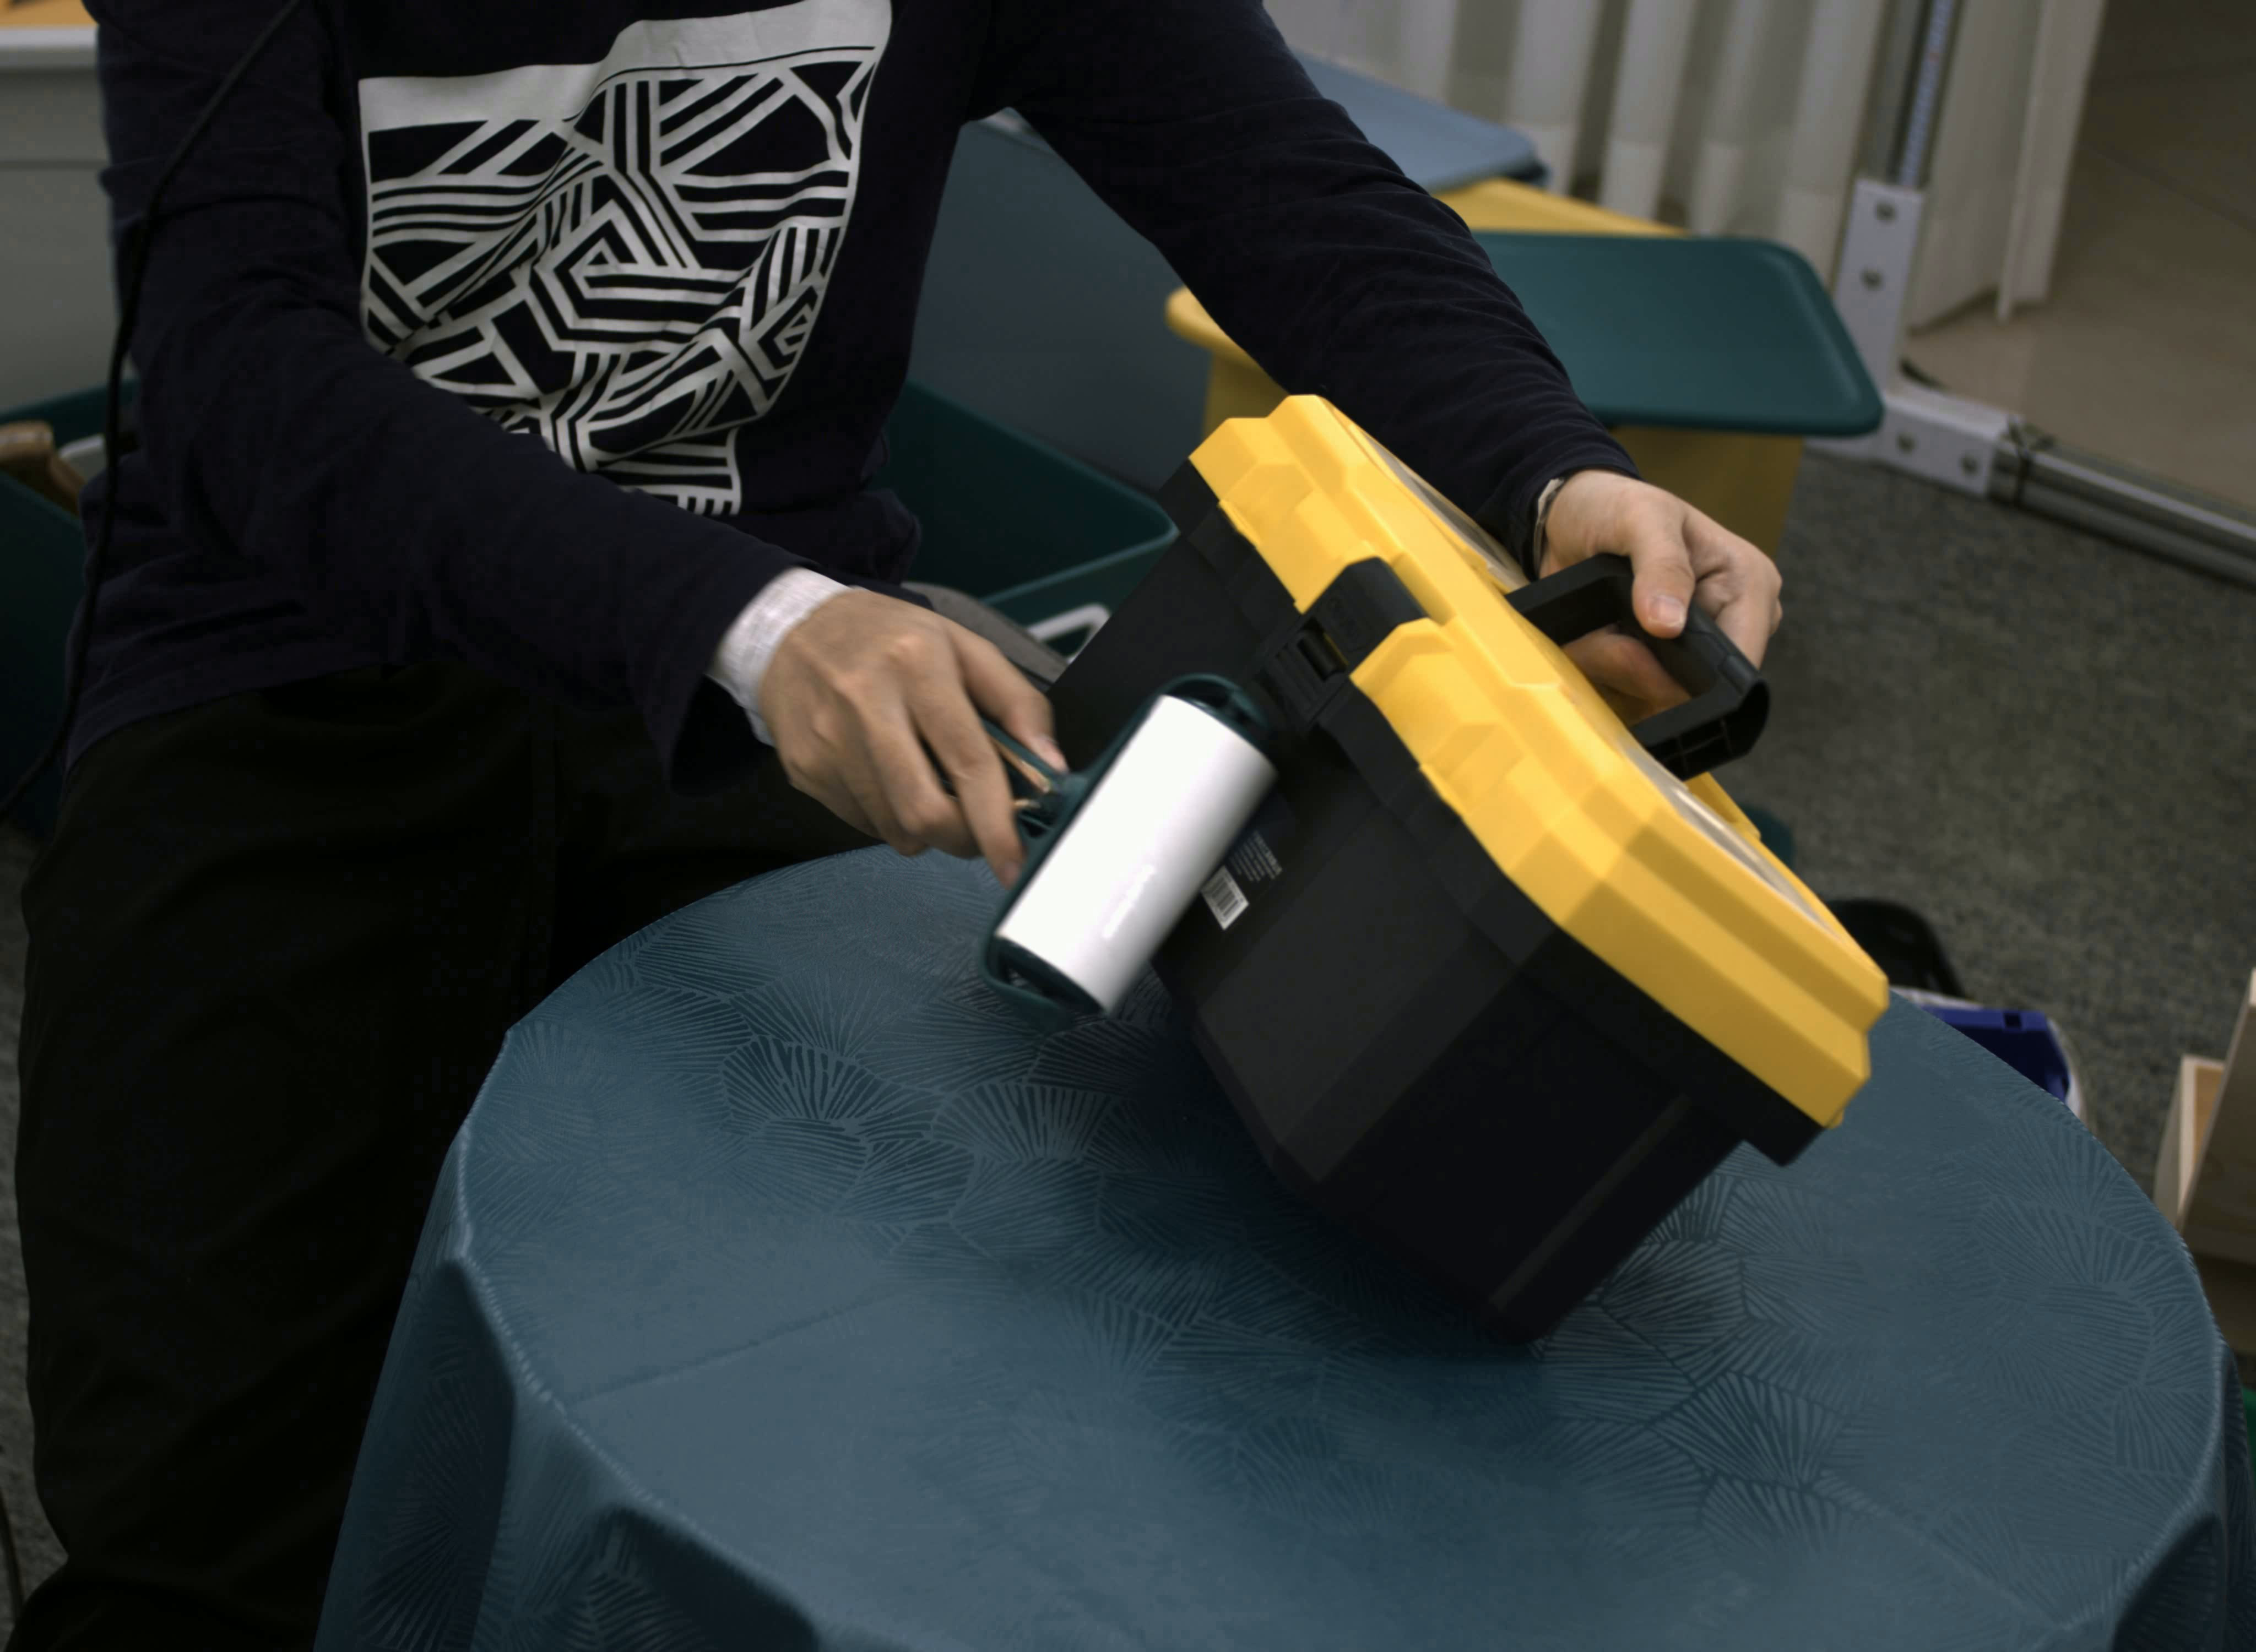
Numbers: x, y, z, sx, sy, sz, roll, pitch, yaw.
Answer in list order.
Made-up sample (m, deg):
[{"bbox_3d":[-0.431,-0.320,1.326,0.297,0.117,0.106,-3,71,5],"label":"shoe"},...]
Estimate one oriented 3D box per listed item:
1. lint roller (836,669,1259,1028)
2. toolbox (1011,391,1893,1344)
[{"bbox_3d":[-0.048,-0.016,1.827,0.181,0.134,0.048,28,-11,39],"label":"lint roller"},{"bbox_3d":[0.098,0.008,1.821,0.180,0.173,0.354,37,11,-31],"label":"toolbox"}]
